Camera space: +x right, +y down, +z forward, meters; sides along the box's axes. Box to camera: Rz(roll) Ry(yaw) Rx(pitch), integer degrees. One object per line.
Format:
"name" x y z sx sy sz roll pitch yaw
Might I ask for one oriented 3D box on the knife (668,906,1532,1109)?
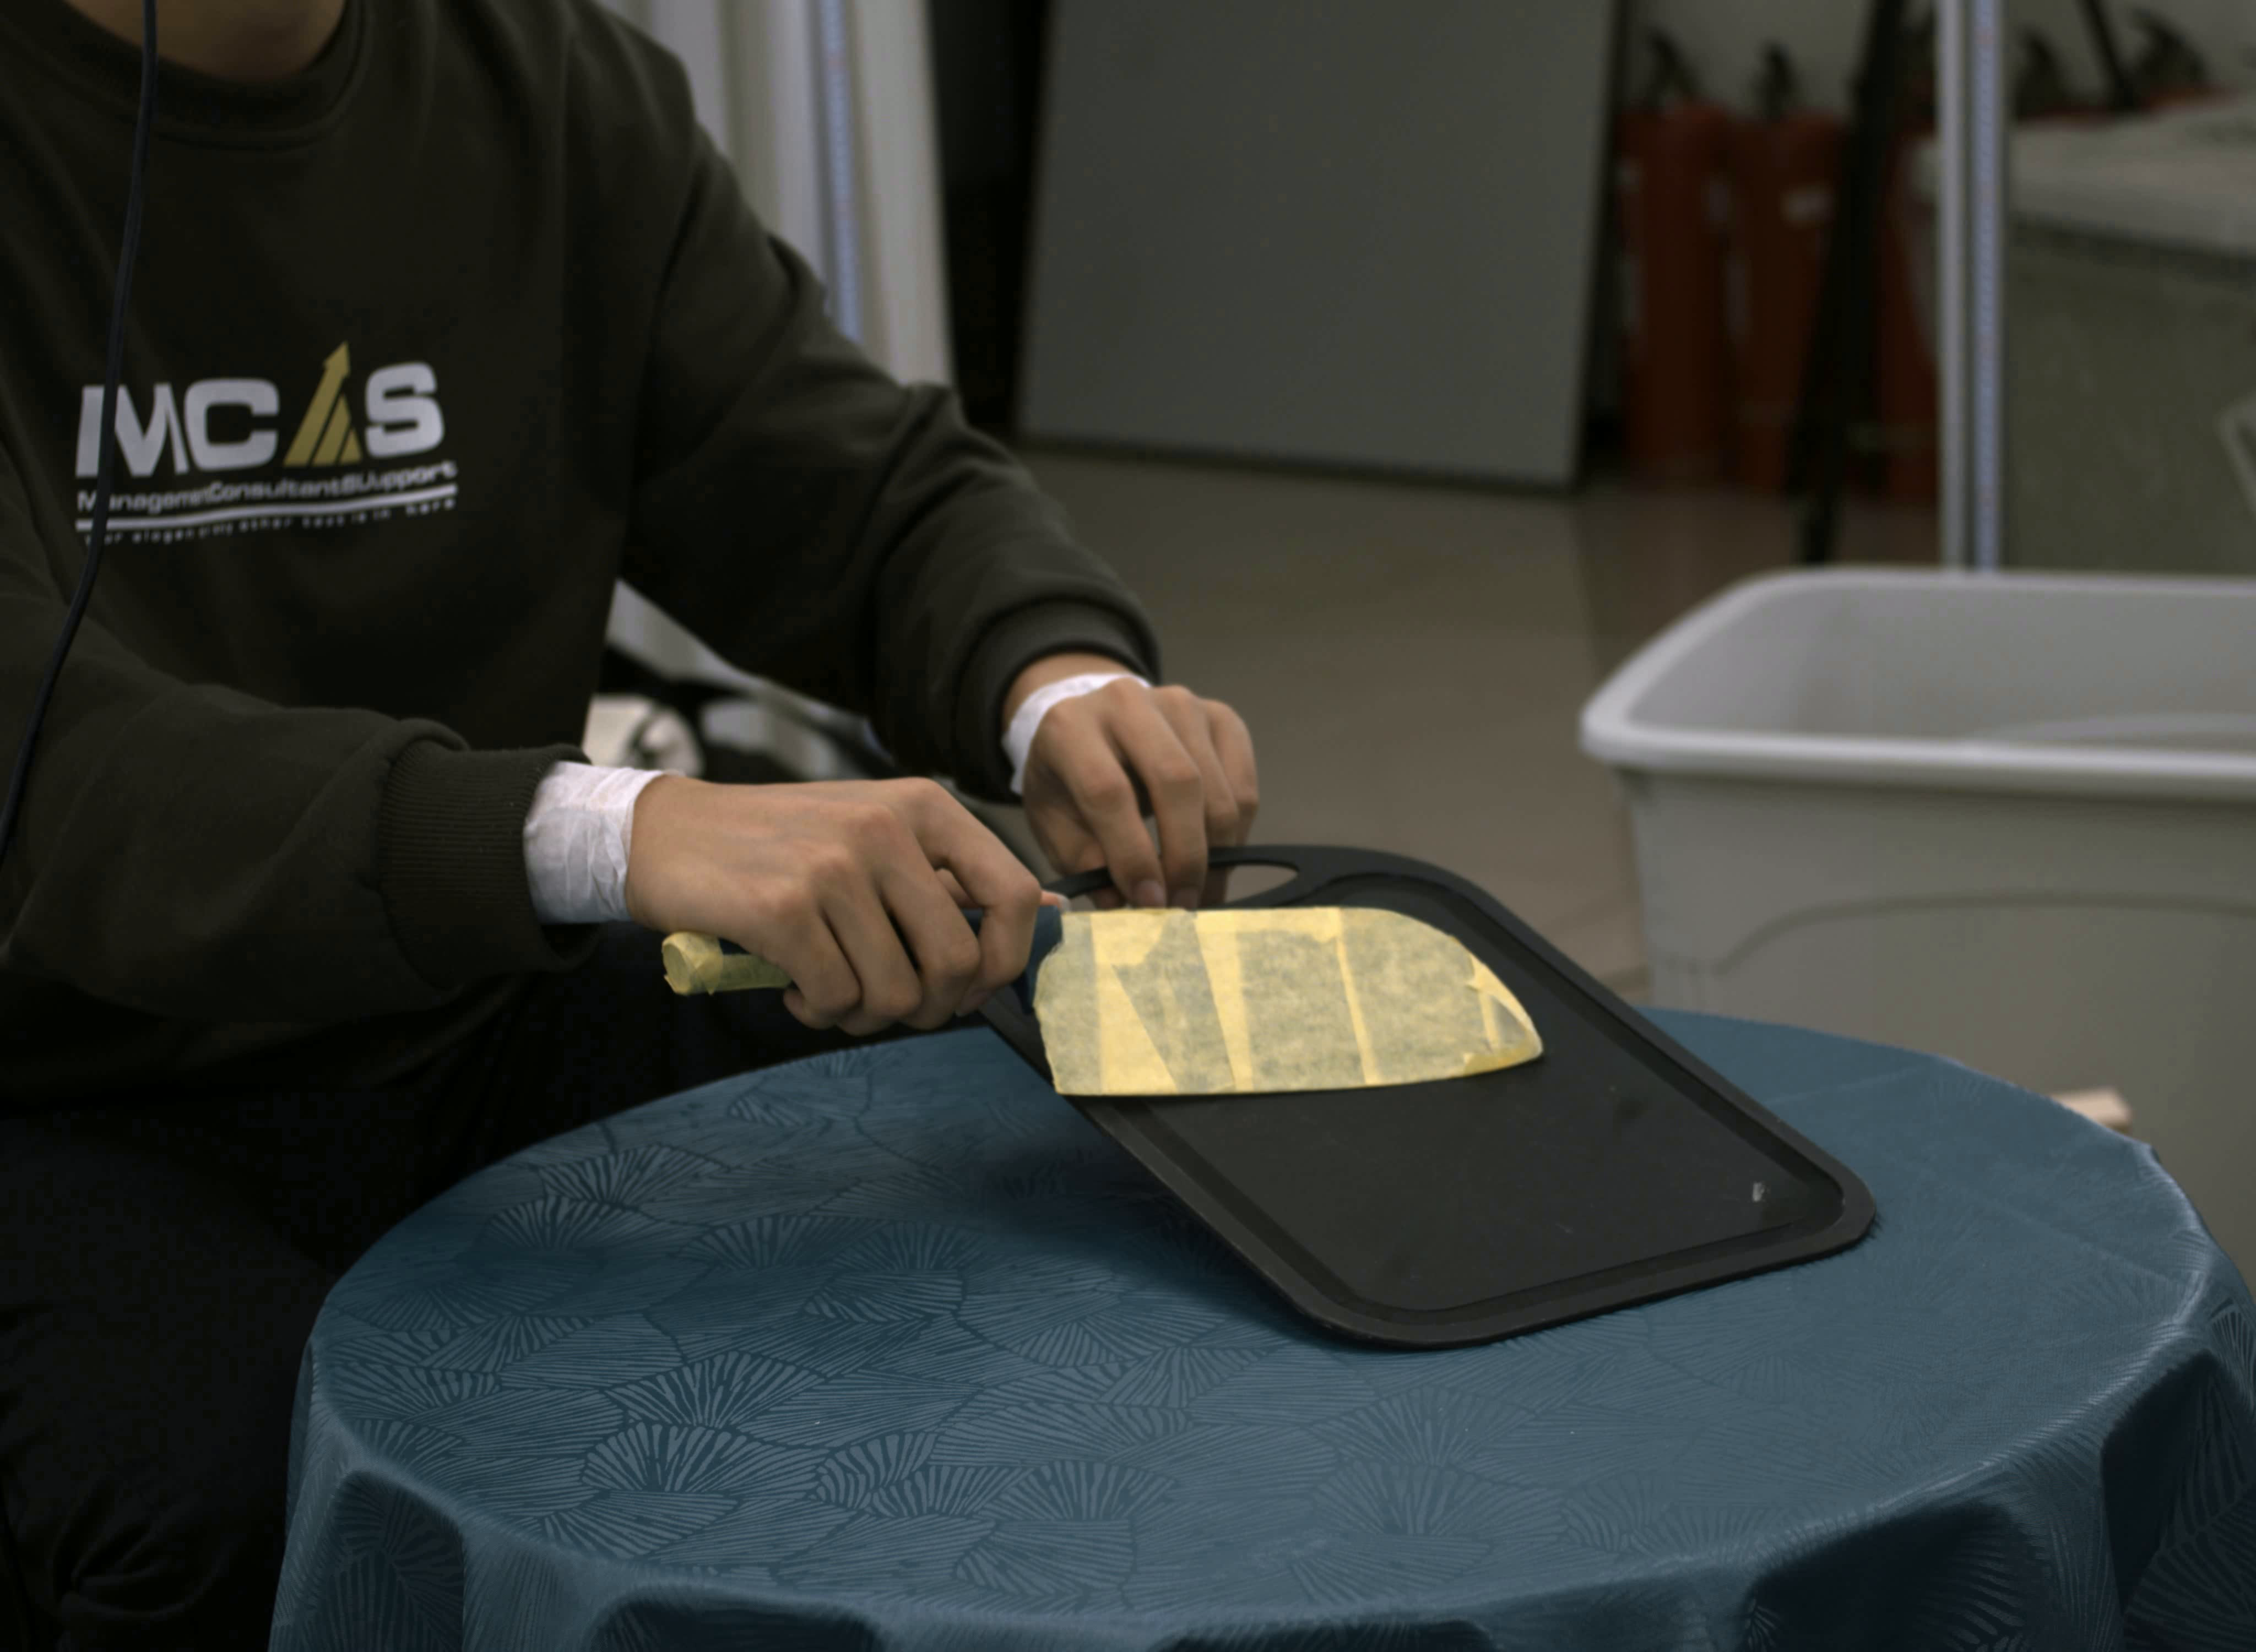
"knife" -0.006 0.059 1.752 0.284 0.027 0.082 0 51 -10

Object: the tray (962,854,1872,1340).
"tray" 0.083 0.079 1.759 0.206 0.010 0.329 -10 28 -27
